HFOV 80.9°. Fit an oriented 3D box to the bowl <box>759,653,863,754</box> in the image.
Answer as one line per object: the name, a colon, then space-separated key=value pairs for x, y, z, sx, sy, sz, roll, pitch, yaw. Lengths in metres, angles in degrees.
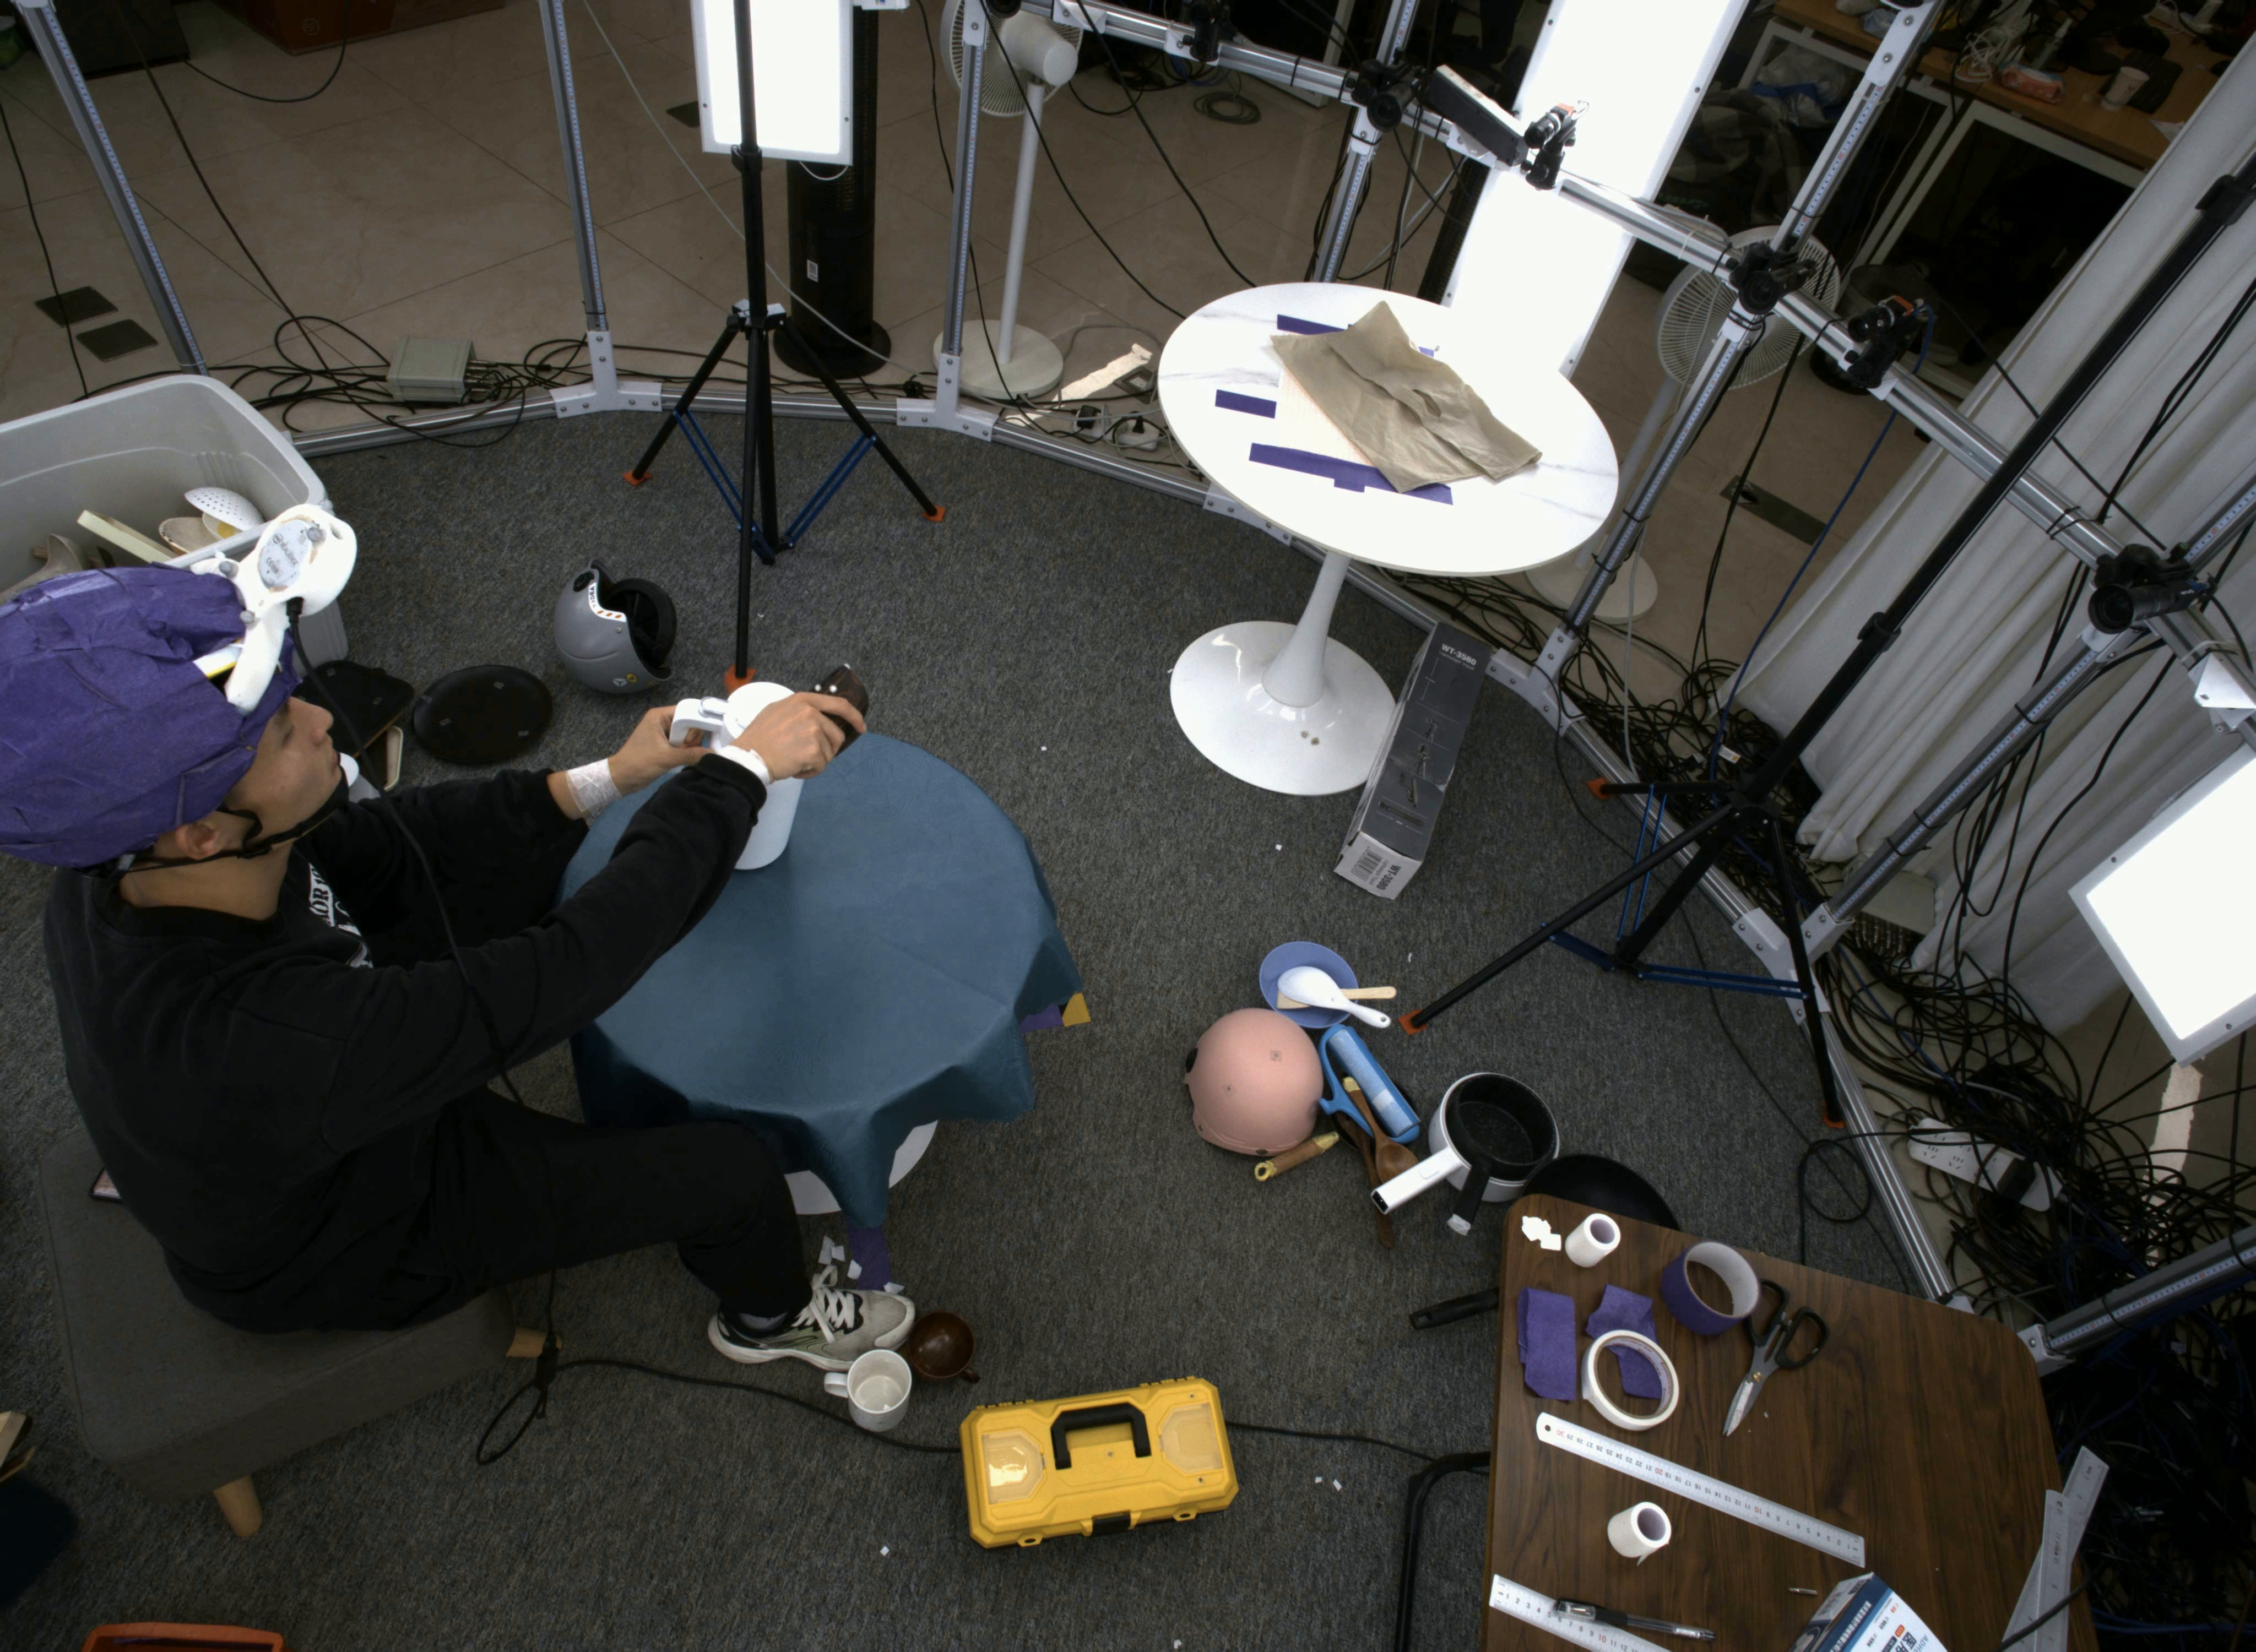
bowl: x=-0.339 y=-0.125 z=1.423 sx=0.071 sy=0.116 sz=0.117 roll=48 pitch=50 yaw=-17

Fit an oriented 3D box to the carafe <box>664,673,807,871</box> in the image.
carafe: x=-0.476 y=-0.064 z=1.571 sx=0.174 sy=0.271 sz=0.122 roll=10 pitch=57 yaw=-17
